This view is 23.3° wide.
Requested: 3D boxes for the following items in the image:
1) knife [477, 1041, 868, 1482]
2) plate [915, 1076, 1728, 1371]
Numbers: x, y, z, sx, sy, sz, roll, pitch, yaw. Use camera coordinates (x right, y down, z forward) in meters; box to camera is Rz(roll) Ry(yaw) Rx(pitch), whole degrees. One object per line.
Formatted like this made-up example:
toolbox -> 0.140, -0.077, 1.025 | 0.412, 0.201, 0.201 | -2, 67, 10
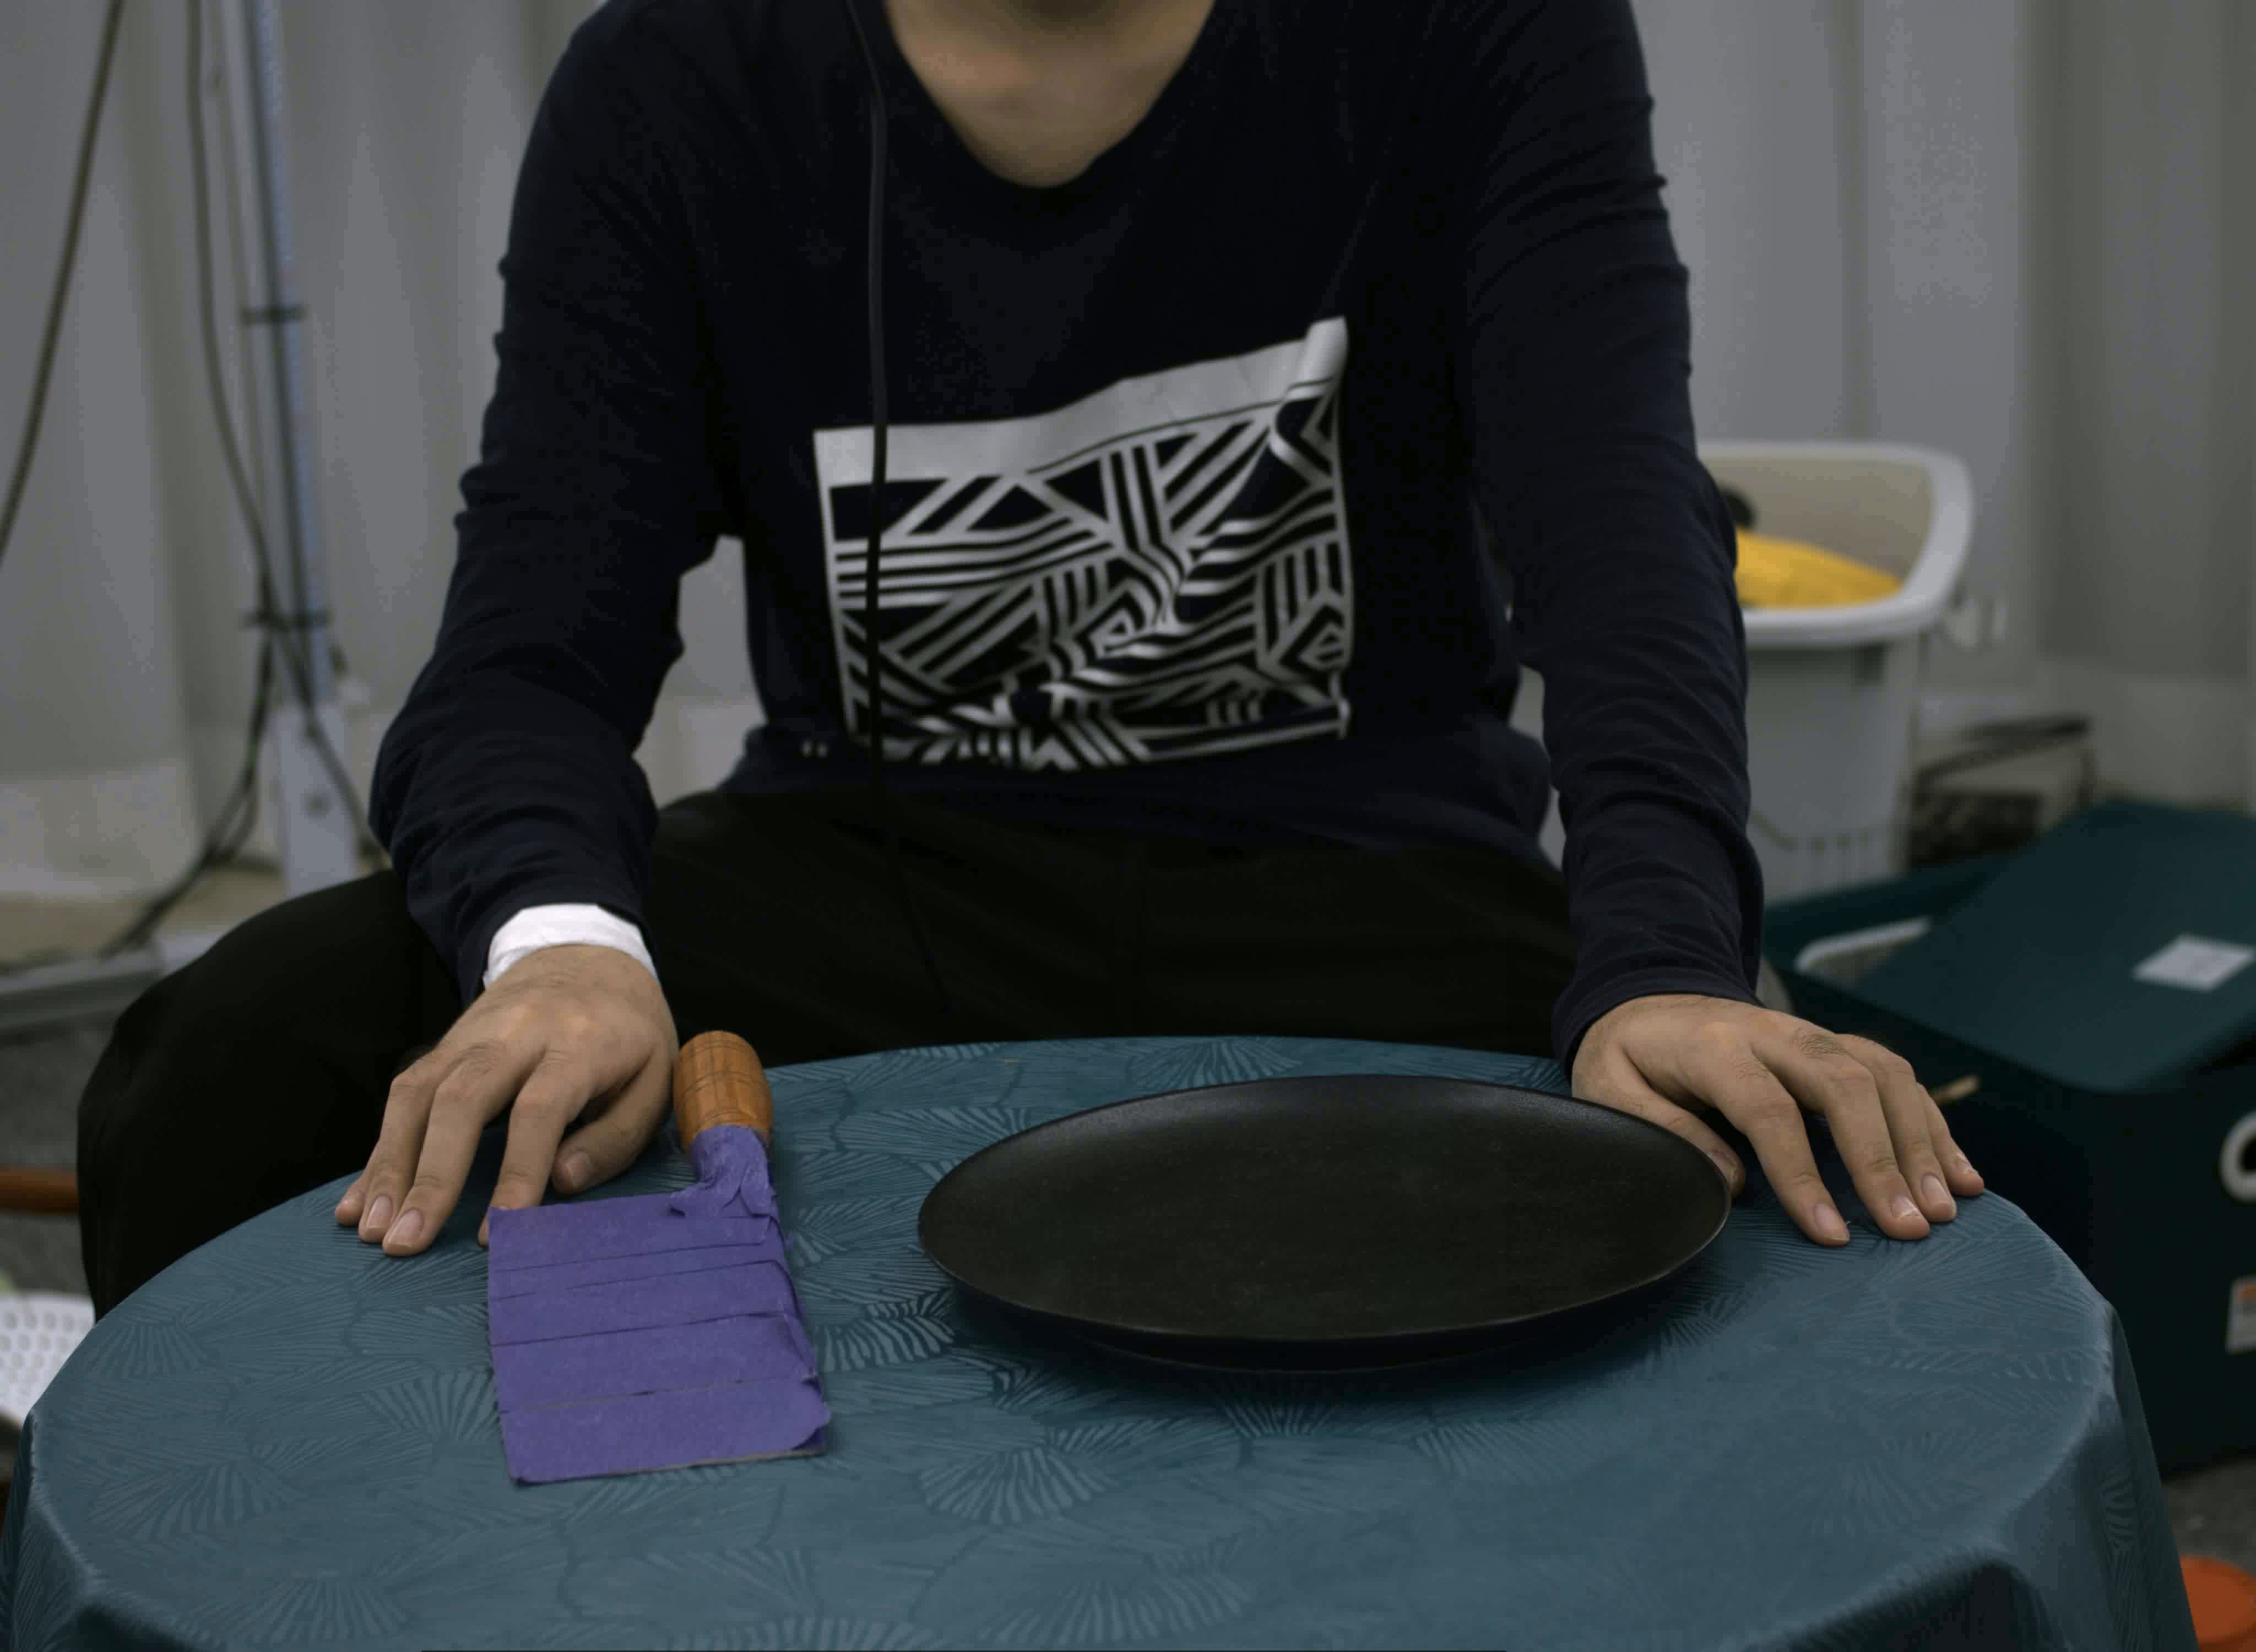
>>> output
knife -> -0.146, 0.127, 1.647 | 0.103, 0.032, 0.318 | -5, 15, -8
plate -> 0.058, 0.121, 1.638 | 0.243, 0.023, 0.246 | -3, 15, 0
